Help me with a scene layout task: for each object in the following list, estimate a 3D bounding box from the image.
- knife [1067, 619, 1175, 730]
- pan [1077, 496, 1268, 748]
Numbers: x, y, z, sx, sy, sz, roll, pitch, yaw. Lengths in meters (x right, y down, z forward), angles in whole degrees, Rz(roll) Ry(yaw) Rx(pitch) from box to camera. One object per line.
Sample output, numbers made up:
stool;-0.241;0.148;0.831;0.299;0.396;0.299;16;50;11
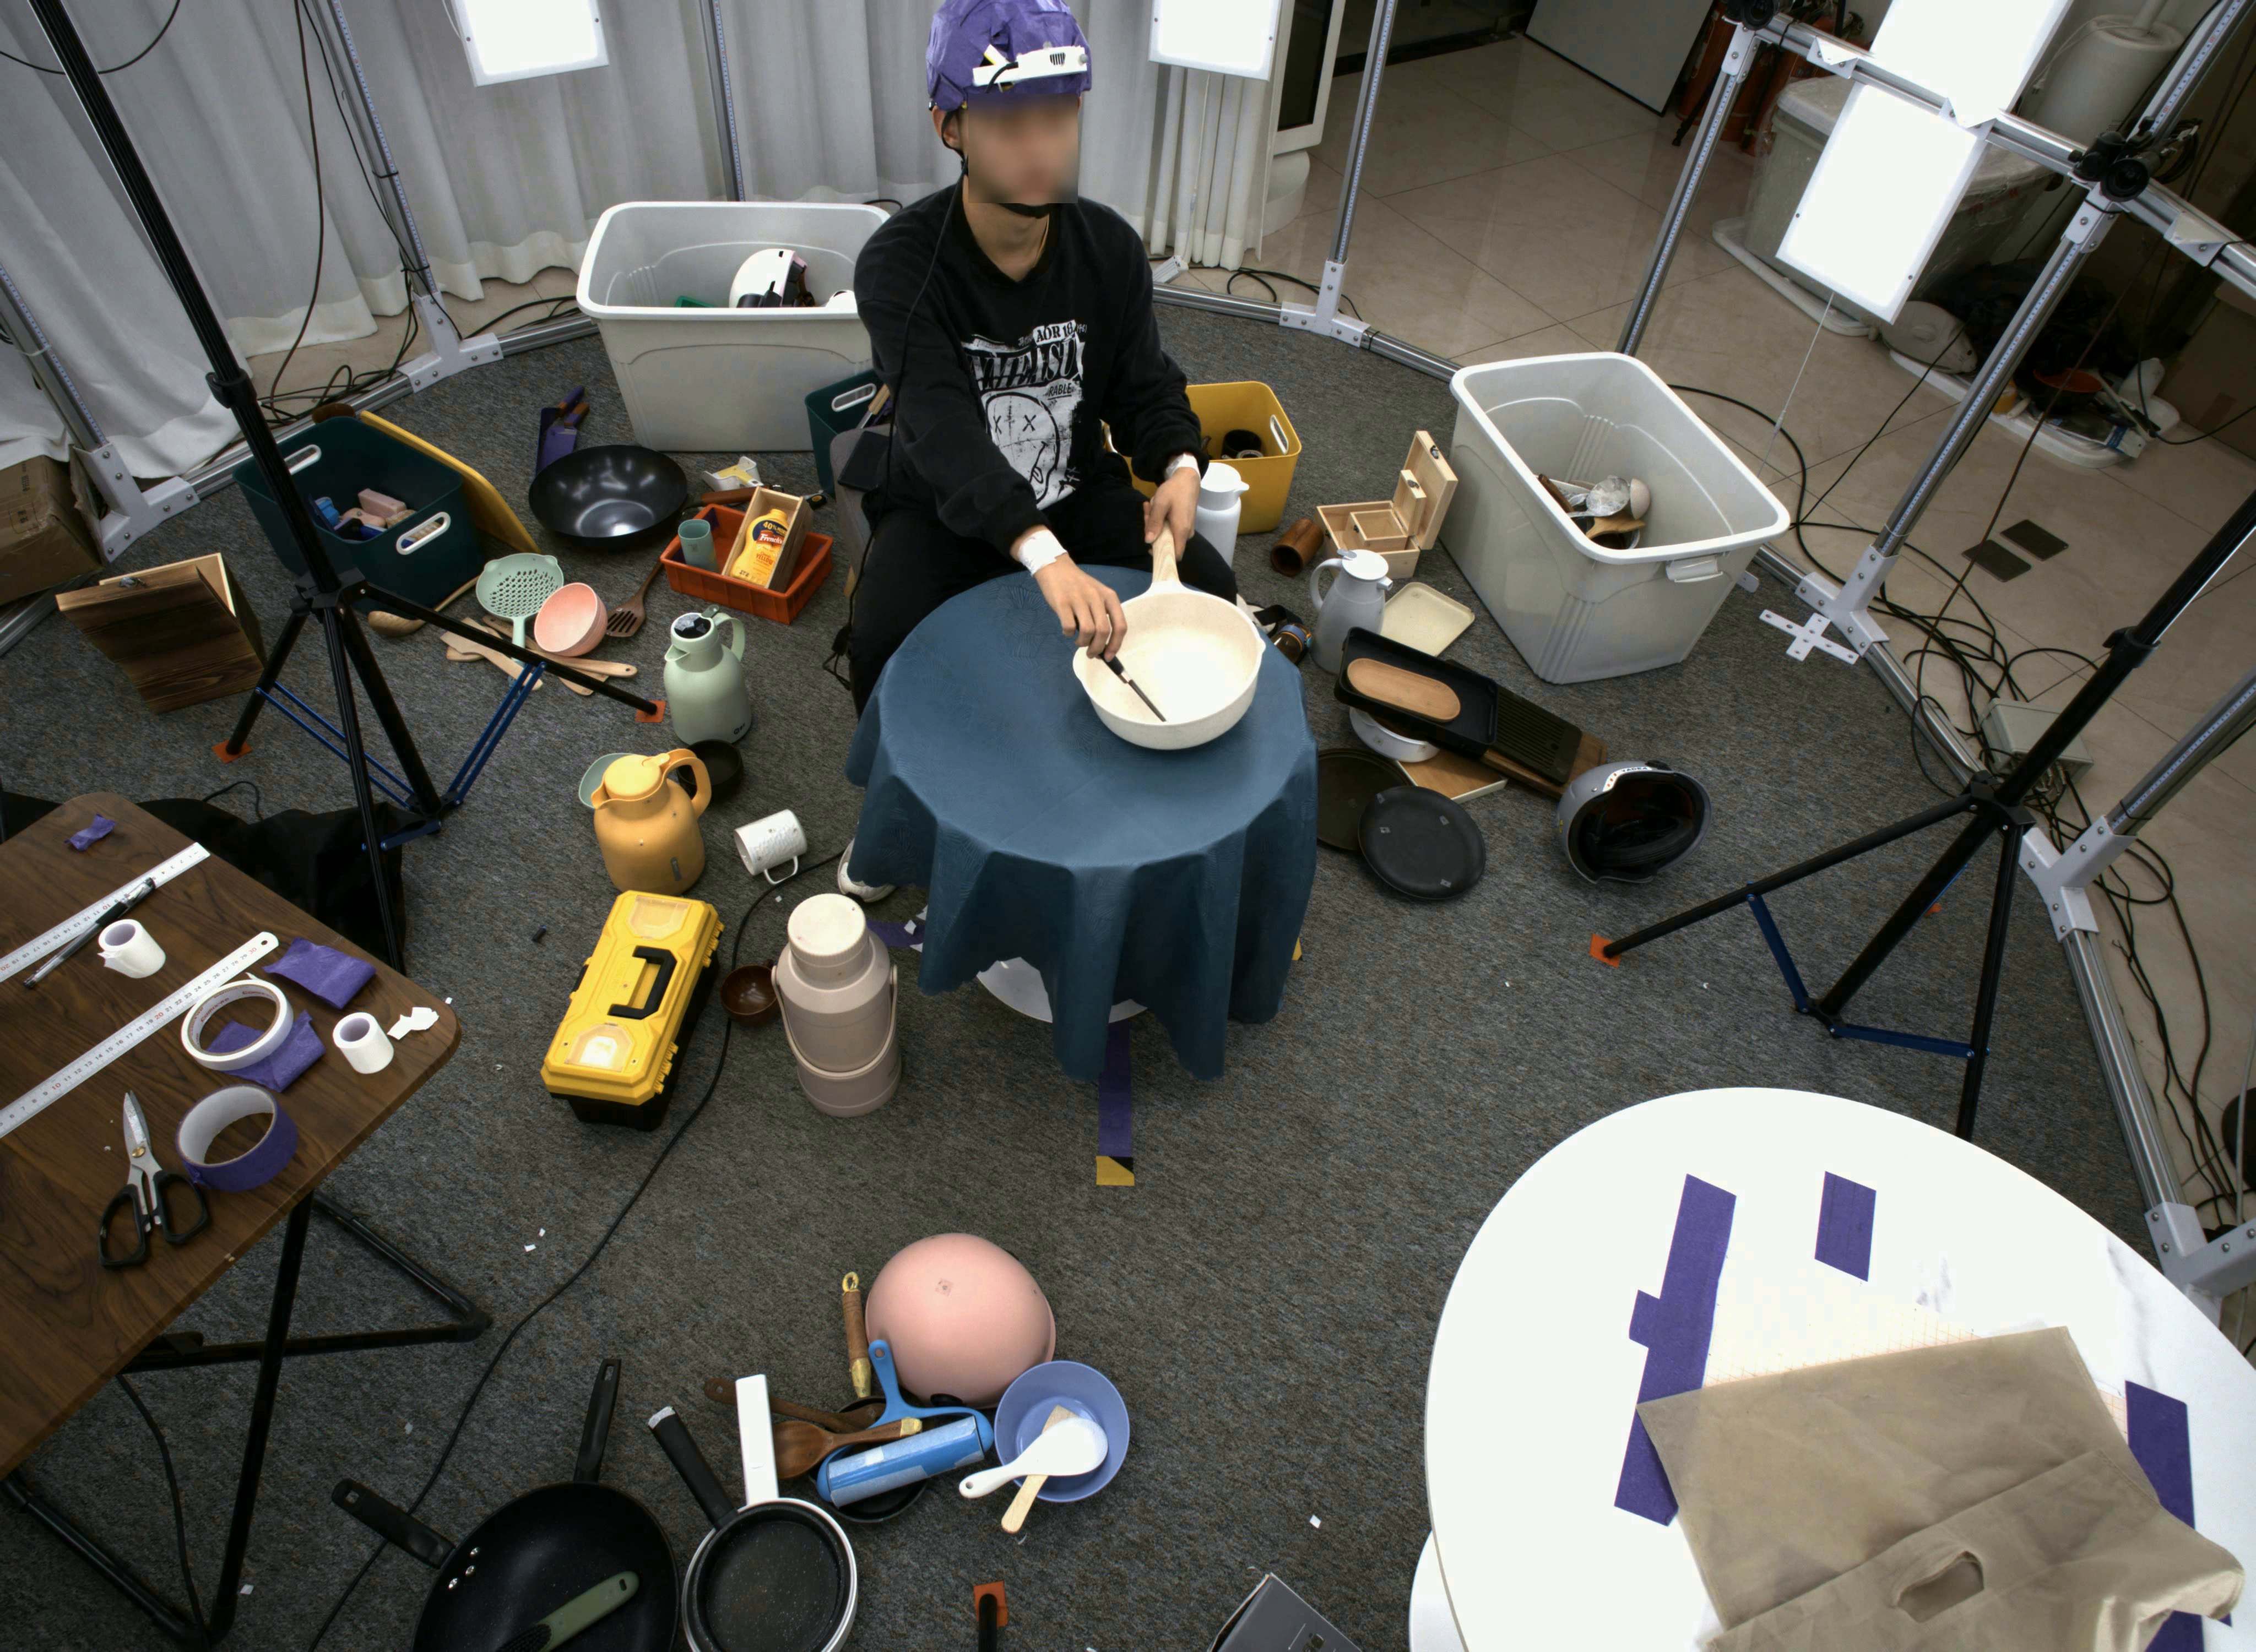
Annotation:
knife;-0.001;-0.190;1.662;0.017;0.222;0.027;-40;26;13
pan;0.063;-0.291;1.834;0.263;0.099;0.445;-7;52;6
